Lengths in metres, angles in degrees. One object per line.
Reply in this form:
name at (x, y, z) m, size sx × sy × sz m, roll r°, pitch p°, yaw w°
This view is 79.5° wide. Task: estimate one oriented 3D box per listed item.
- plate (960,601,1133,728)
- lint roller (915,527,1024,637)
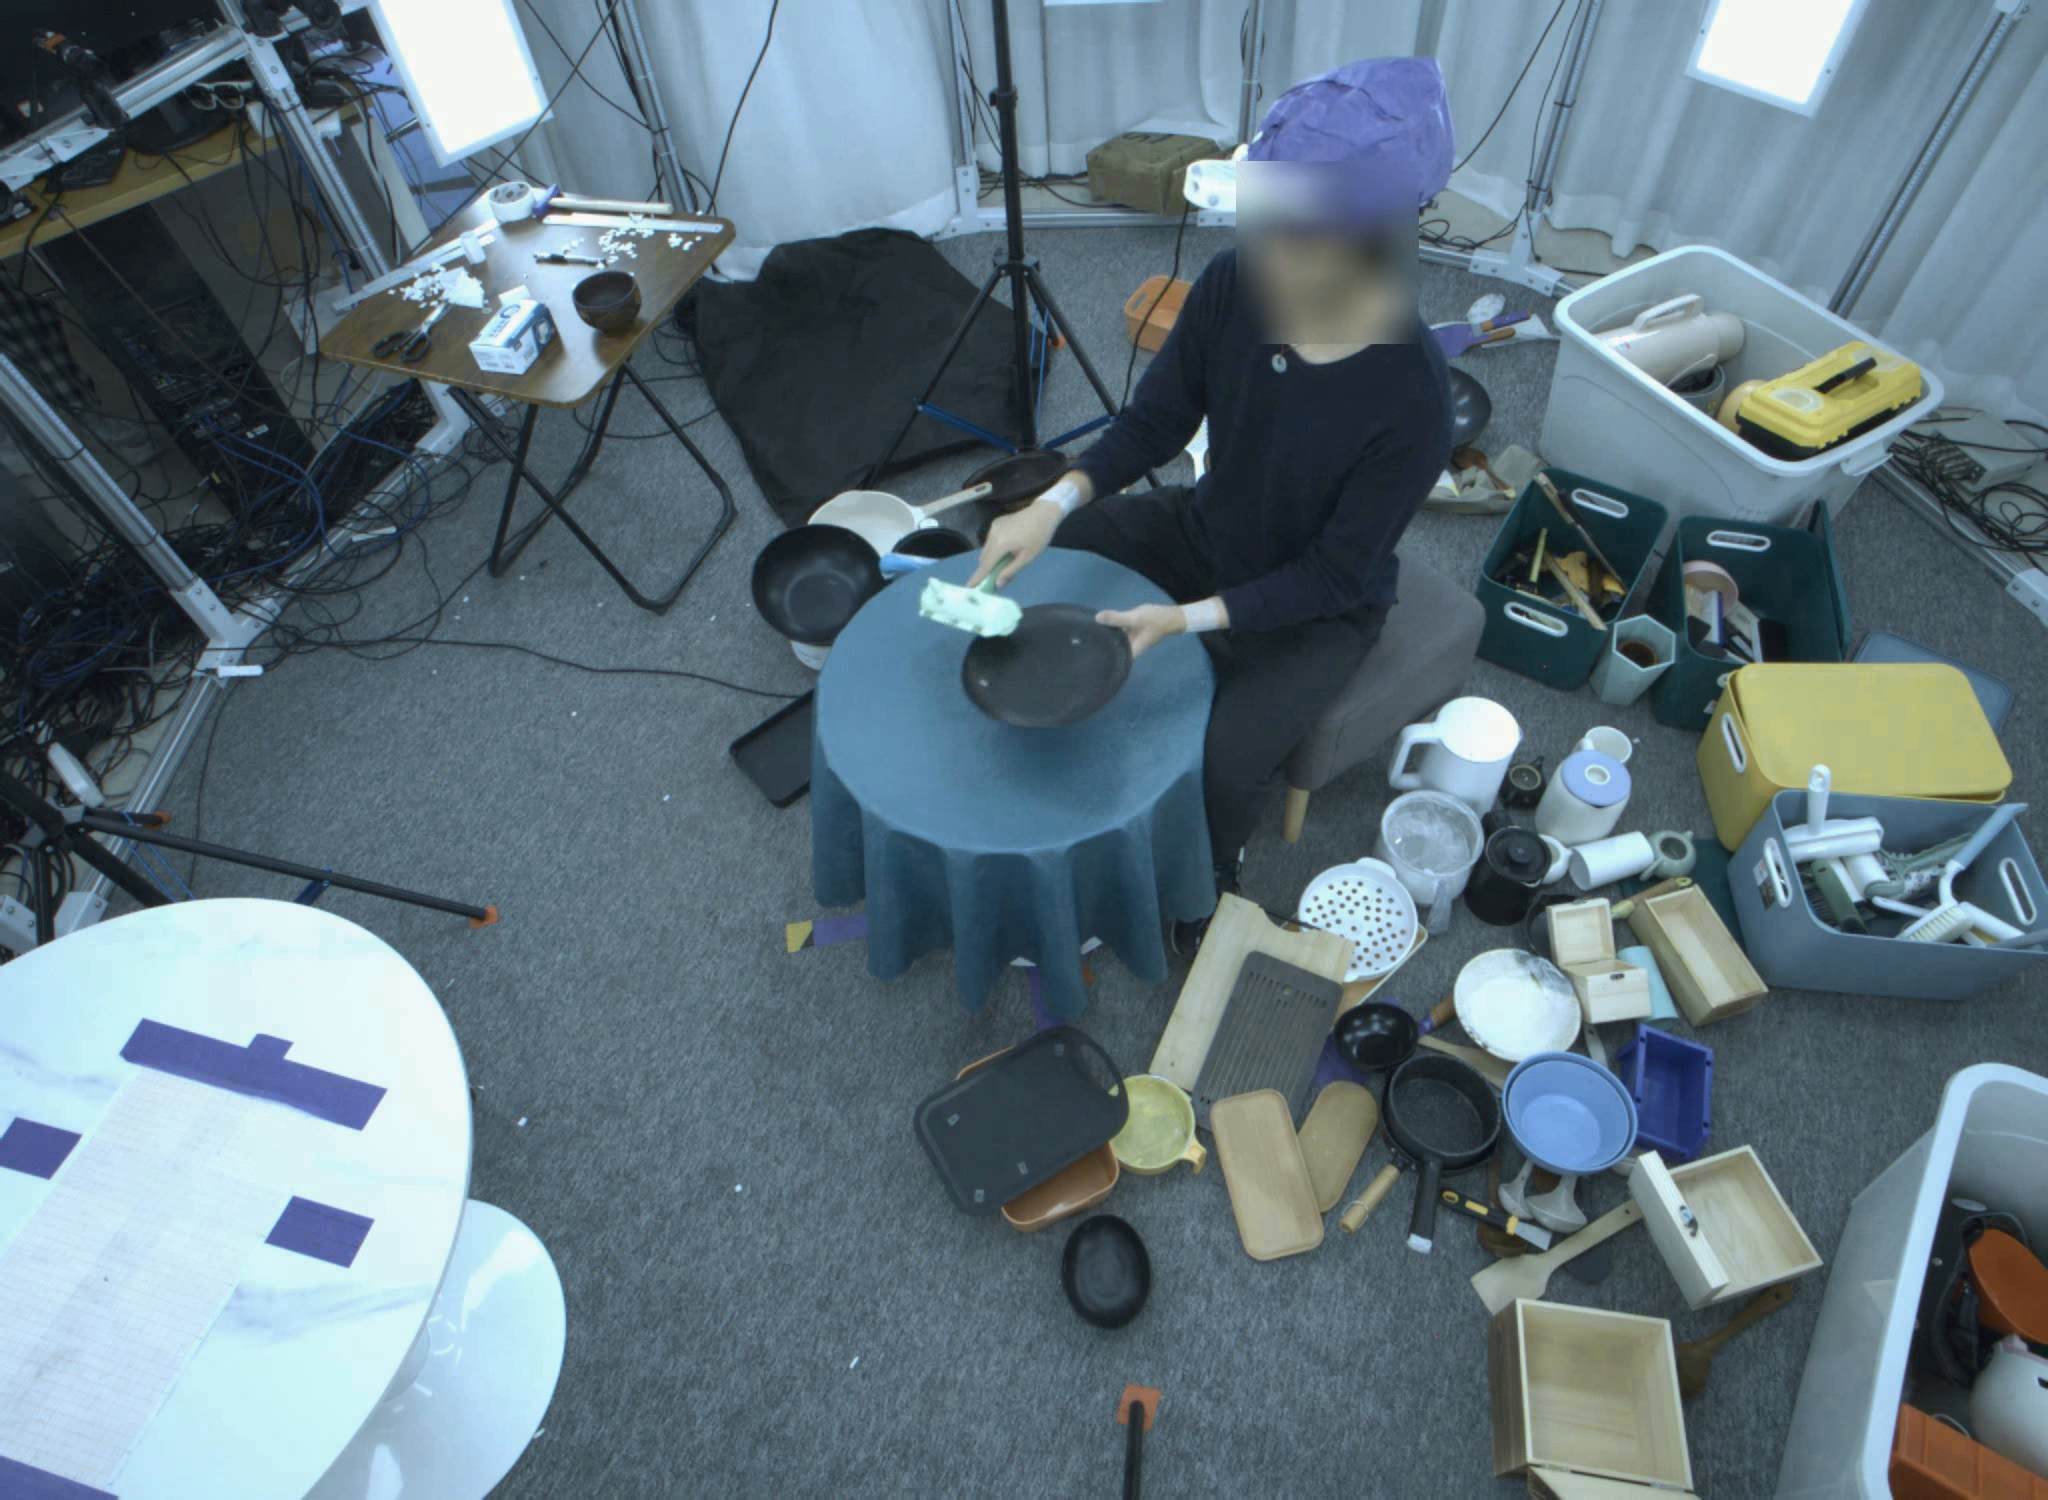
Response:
plate at (0.031, -0.117, 1.721) m, size 0.243 × 0.024 × 0.242 m, roll -3°, pitch 51°, yaw 5°
lint roller at (-0.068, -0.260, 1.786) m, size 0.194 × 0.084 × 0.183 m, roll 23°, pitch 85°, yaw 50°
